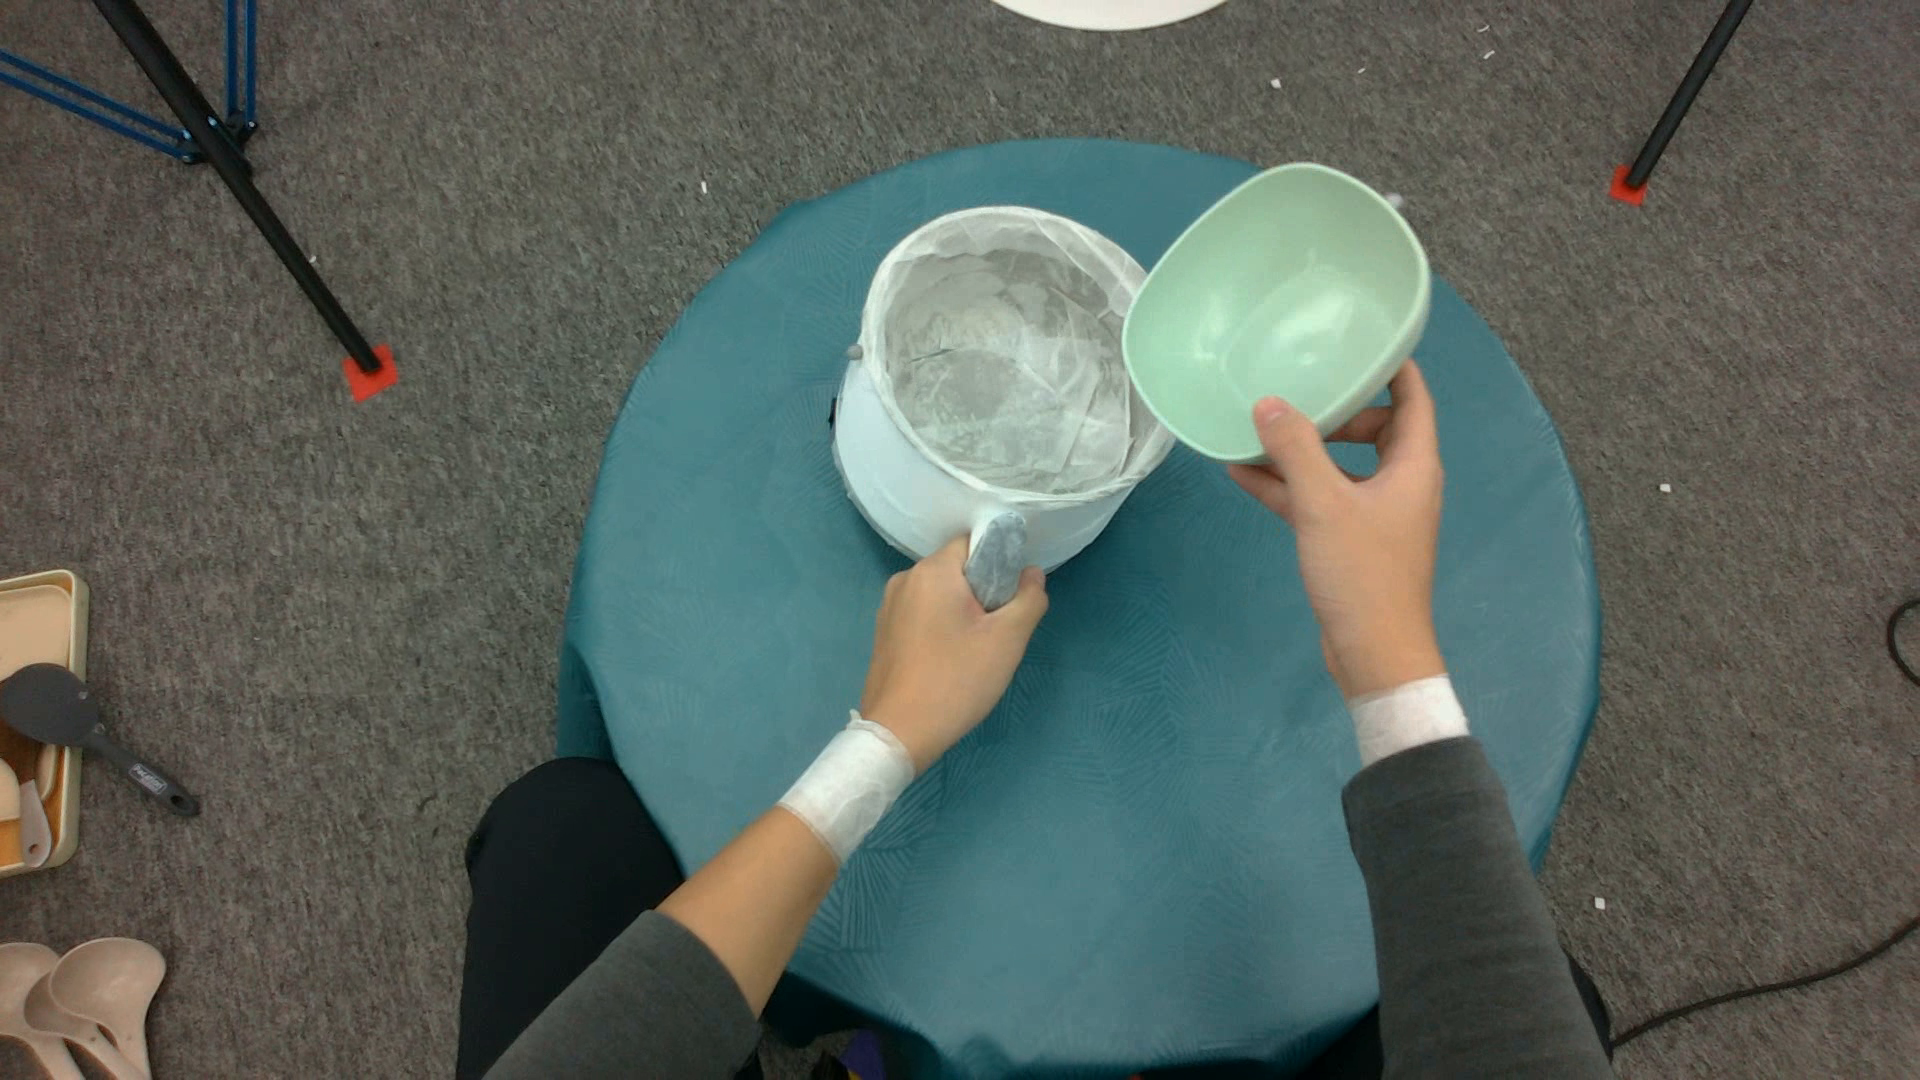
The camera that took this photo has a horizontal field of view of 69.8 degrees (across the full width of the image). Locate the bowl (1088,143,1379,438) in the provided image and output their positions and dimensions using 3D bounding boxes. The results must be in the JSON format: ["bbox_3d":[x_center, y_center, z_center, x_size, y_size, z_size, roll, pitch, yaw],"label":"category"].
[{"bbox_3d":[0.137,-0.109,0.653,0.151,0.058,0.152,-23,53,35],"label":"bowl"}]

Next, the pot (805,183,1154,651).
[{"bbox_3d":[0.008,-0.061,0.754,0.179,0.136,0.234,11,65,-12],"label":"pot"}]
